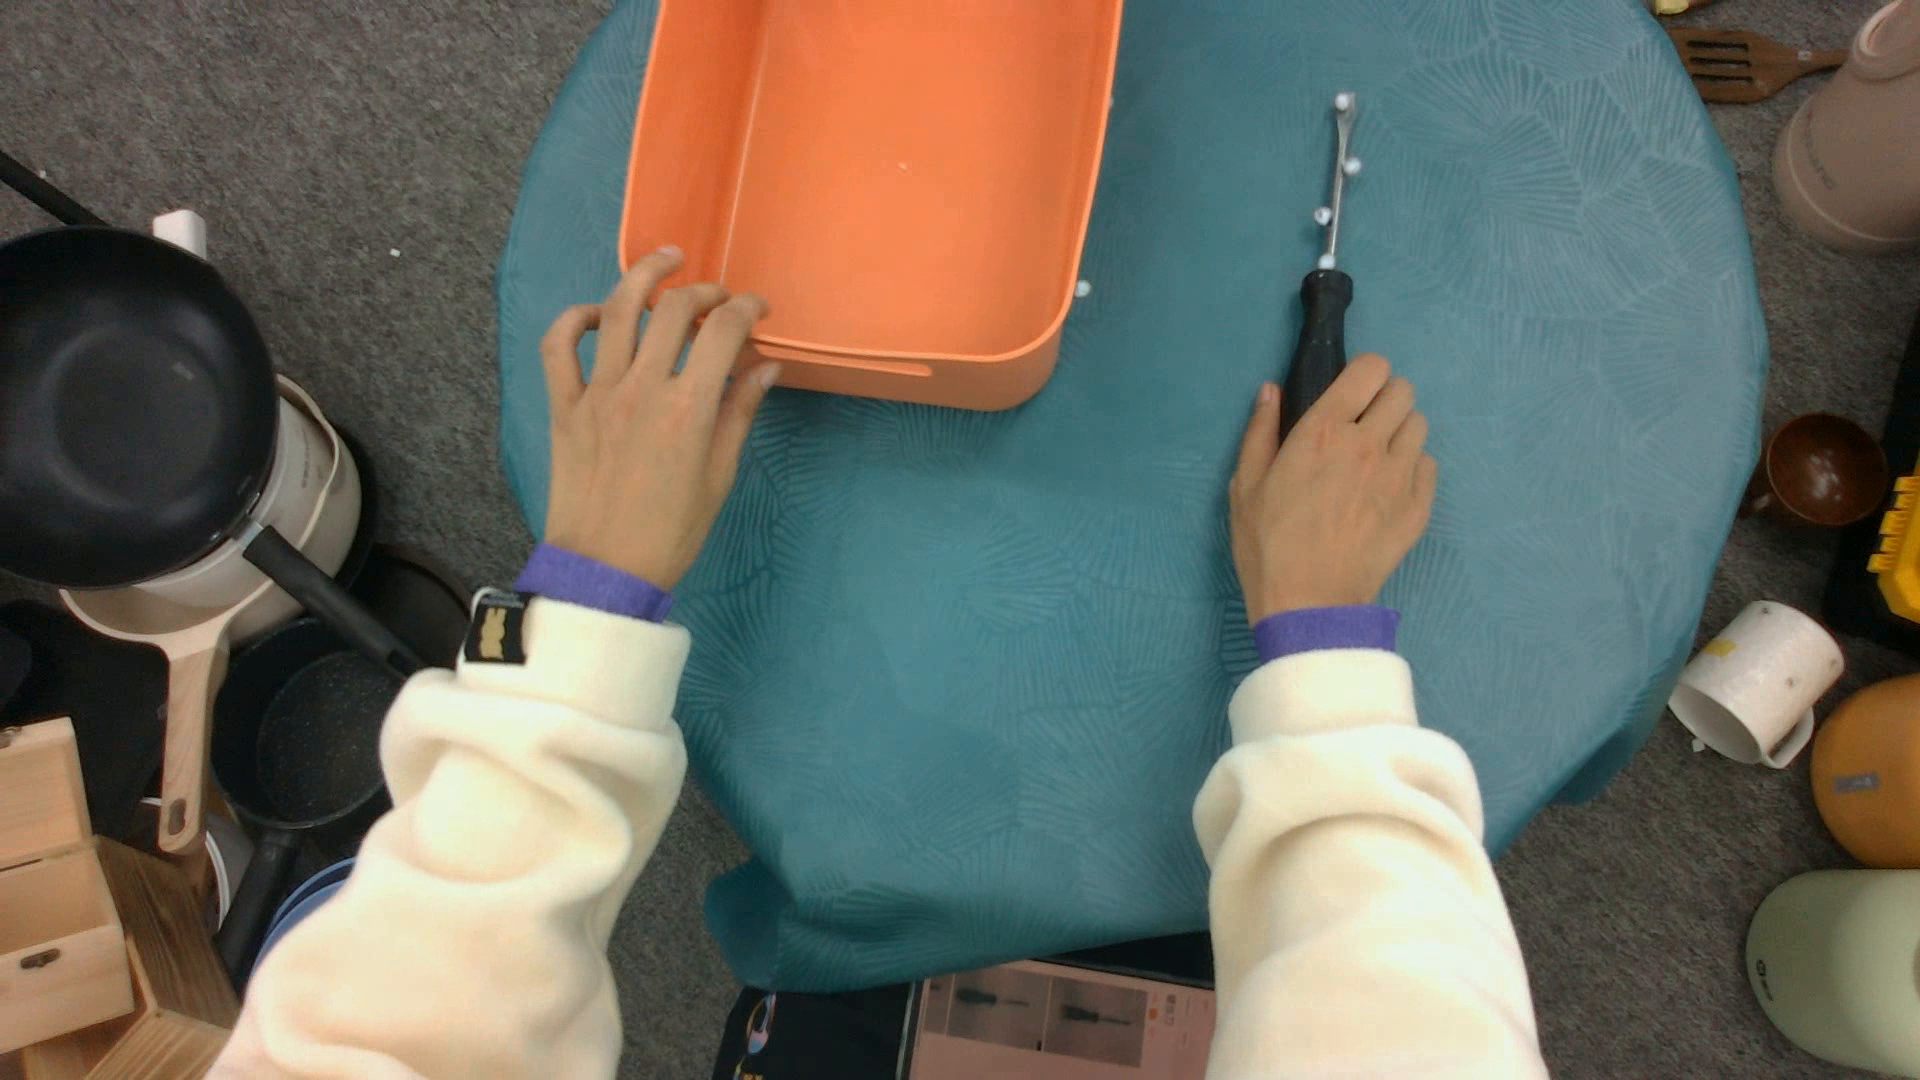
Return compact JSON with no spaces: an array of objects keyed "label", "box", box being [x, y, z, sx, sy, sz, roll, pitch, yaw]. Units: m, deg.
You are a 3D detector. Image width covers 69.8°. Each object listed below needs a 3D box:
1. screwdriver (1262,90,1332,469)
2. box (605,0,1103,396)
[{"label":"screwdriver","box":[0.167,-0.126,0.646,0.031,0.031,0.198,11,73,6]},{"label":"box","box":[-0.038,-0.202,0.633,0.199,0.102,0.274,7,76,4]}]
